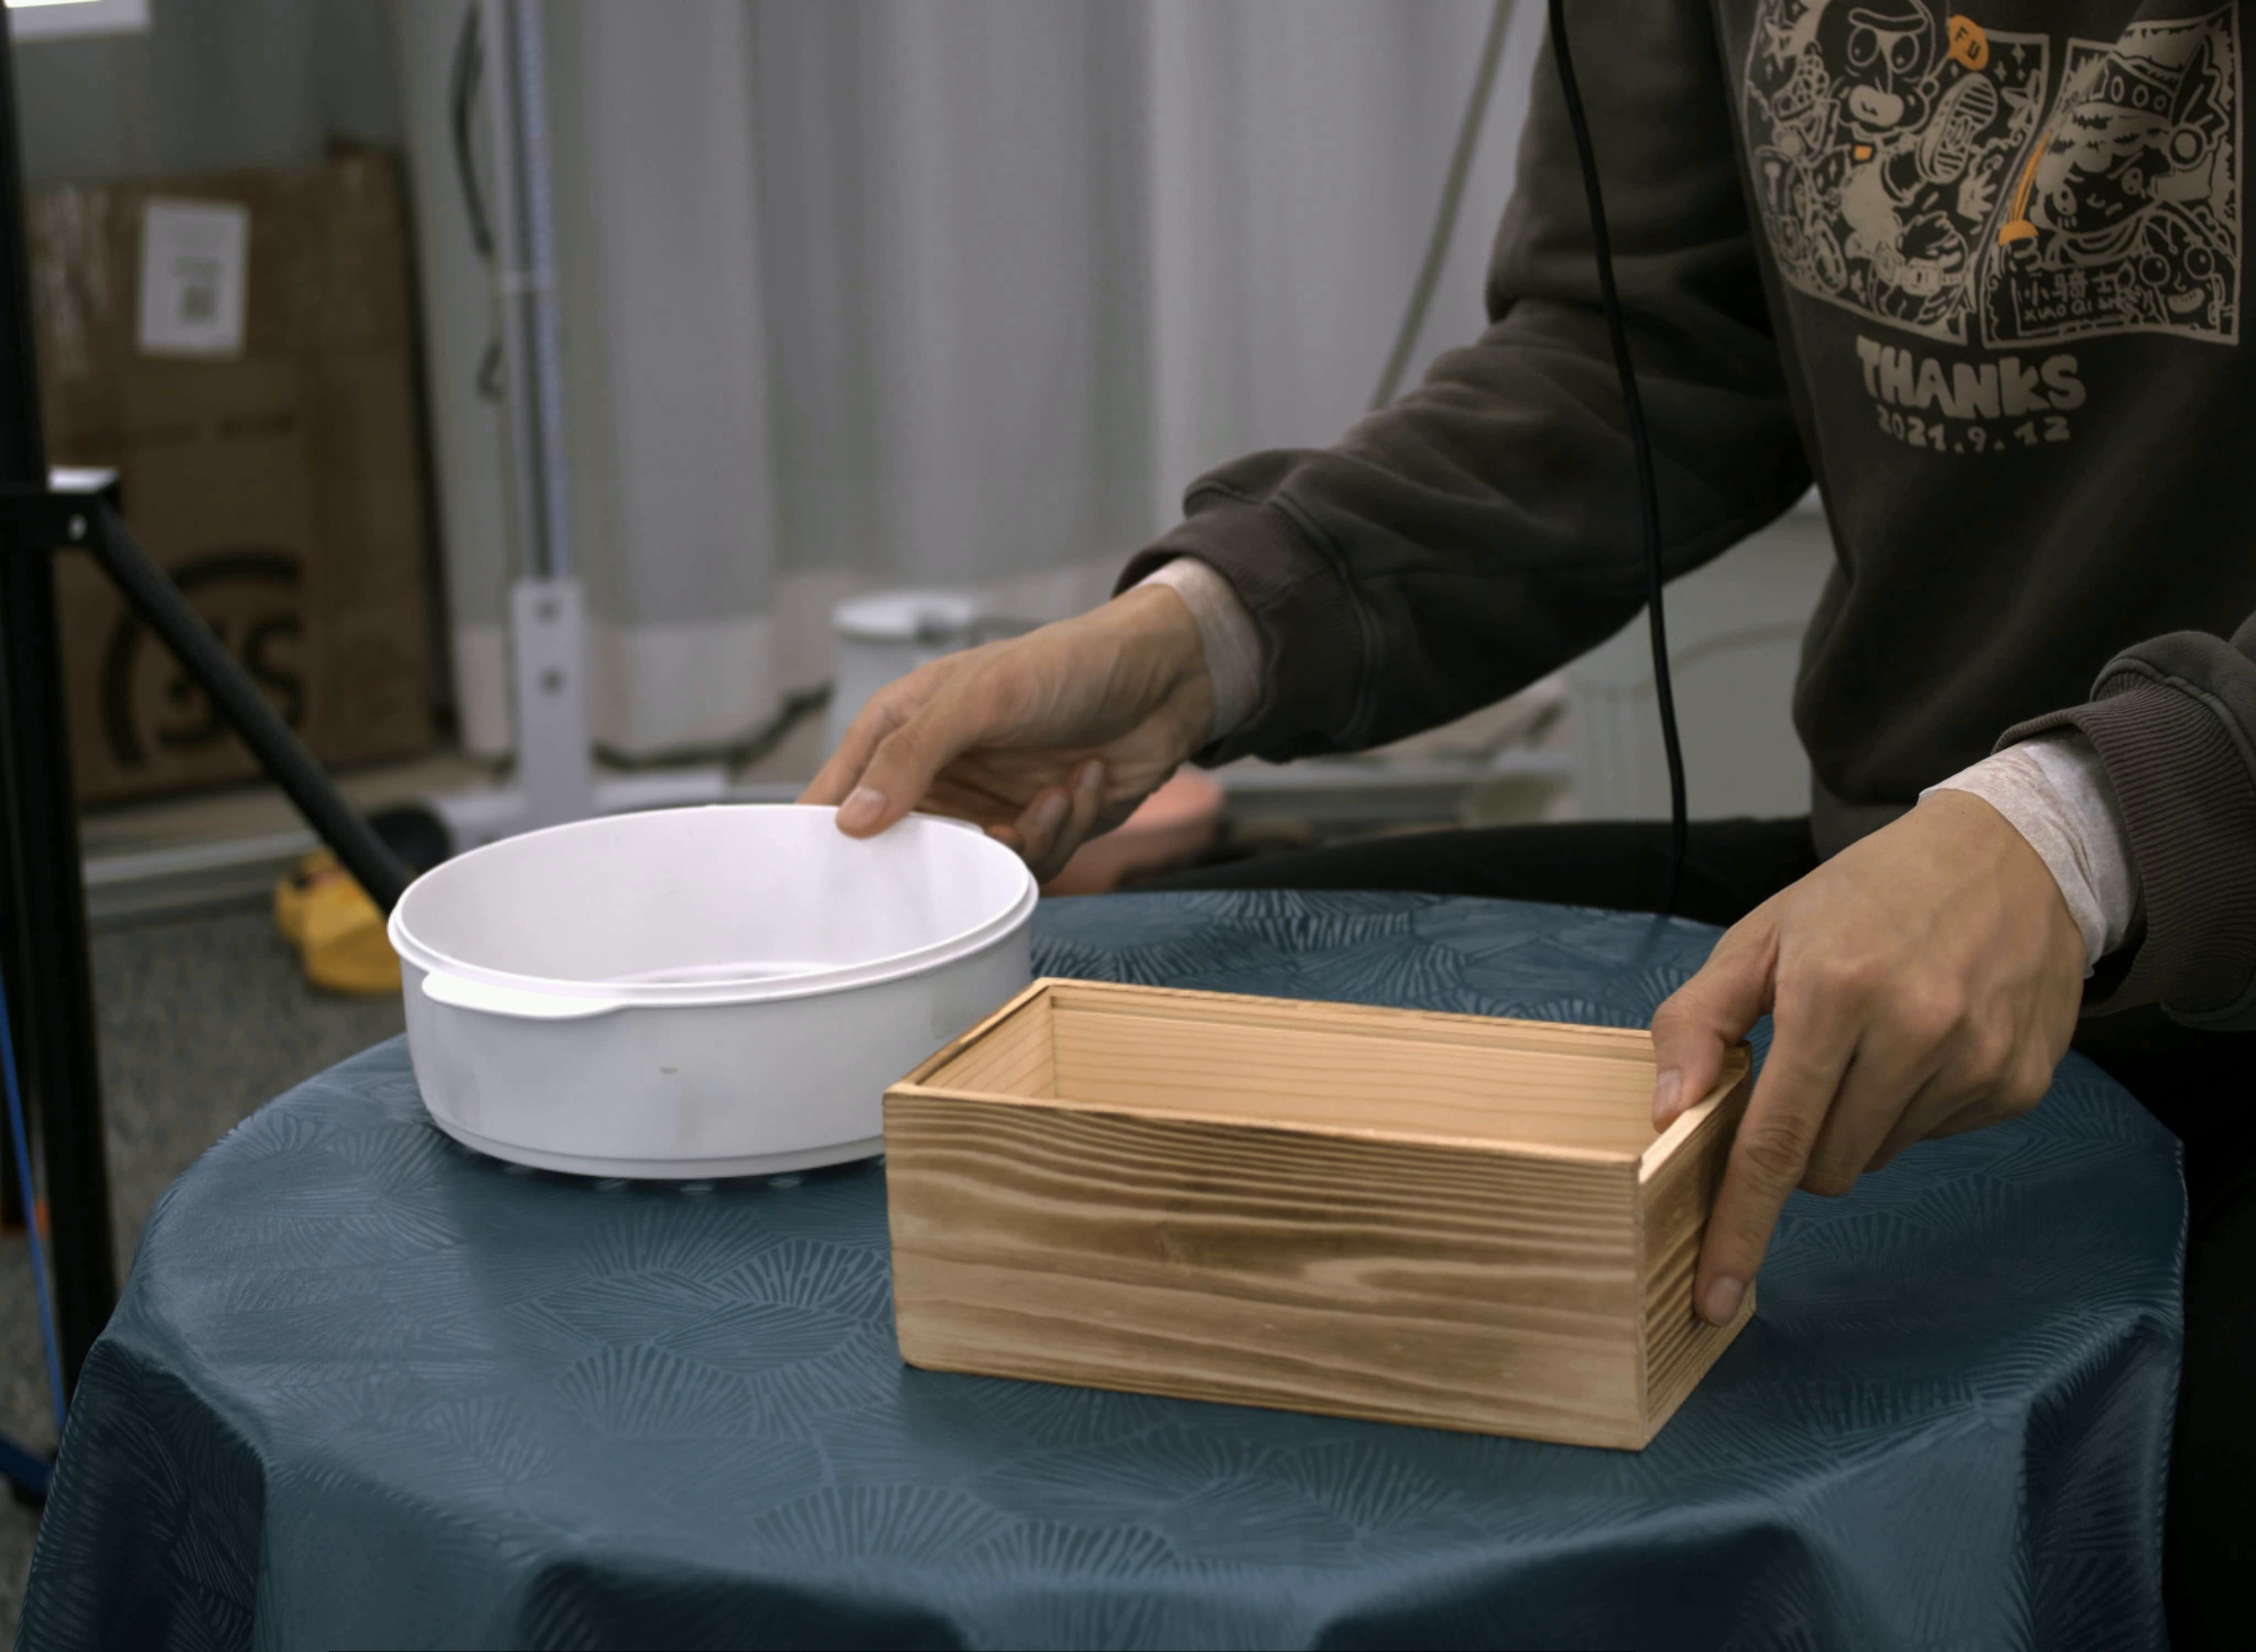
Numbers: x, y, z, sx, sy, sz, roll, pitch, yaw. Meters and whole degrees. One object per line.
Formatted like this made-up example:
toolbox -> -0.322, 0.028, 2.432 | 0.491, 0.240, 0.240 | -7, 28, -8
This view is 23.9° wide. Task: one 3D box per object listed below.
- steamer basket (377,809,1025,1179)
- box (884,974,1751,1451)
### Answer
steamer basket -> -0.131, 0.052, 1.658 | 0.206, 0.069, 0.226 | 9, 18, 32
box -> 0.052, 0.101, 1.429 | 0.214, 0.080, 0.106 | 5, 16, 24
